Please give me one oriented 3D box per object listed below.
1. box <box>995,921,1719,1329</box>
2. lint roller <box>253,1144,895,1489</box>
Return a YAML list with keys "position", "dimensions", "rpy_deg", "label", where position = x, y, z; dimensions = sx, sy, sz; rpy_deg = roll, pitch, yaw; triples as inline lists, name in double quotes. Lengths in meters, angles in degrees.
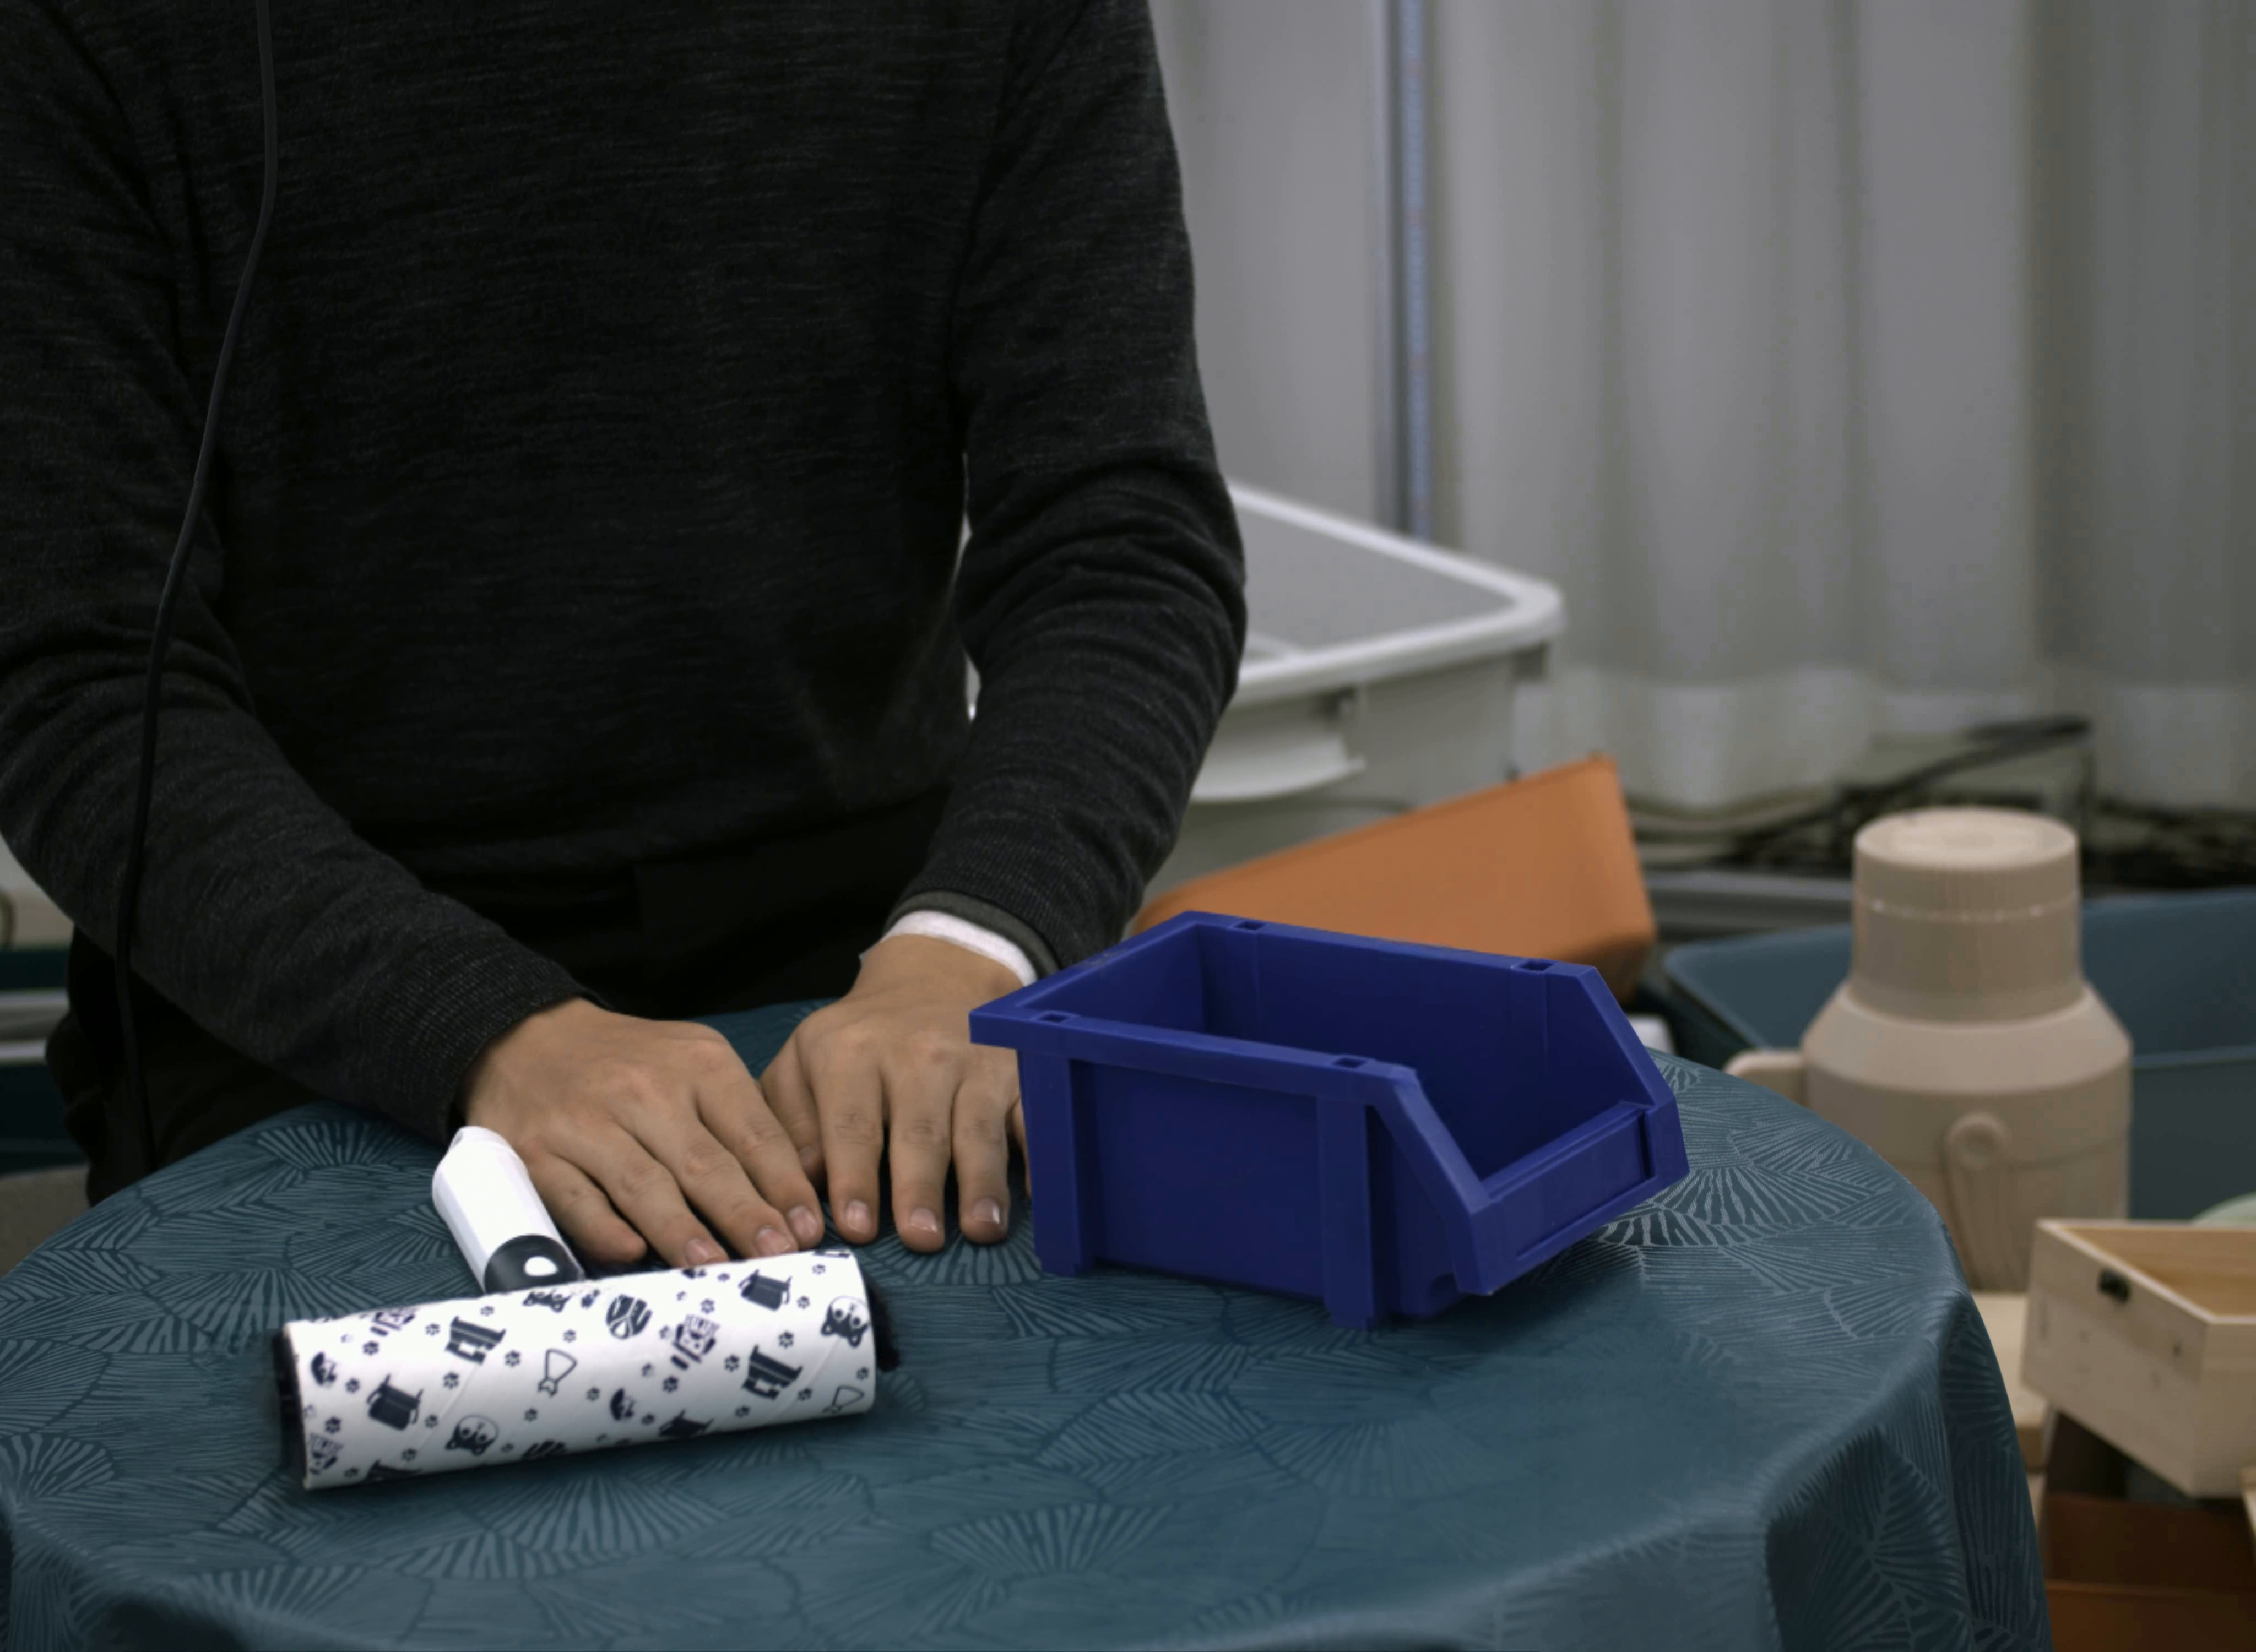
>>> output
- position: [0.070, 0.088, 1.641]
  dimensions: [0.180, 0.081, 0.124]
  rpy_deg: [5, 16, 36]
  label: "box"
- position: [-0.180, 0.129, 1.614]
  dimensions: [0.175, 0.050, 0.249]
  rpy_deg: [-8, 14, -14]
  label: "lint roller"
